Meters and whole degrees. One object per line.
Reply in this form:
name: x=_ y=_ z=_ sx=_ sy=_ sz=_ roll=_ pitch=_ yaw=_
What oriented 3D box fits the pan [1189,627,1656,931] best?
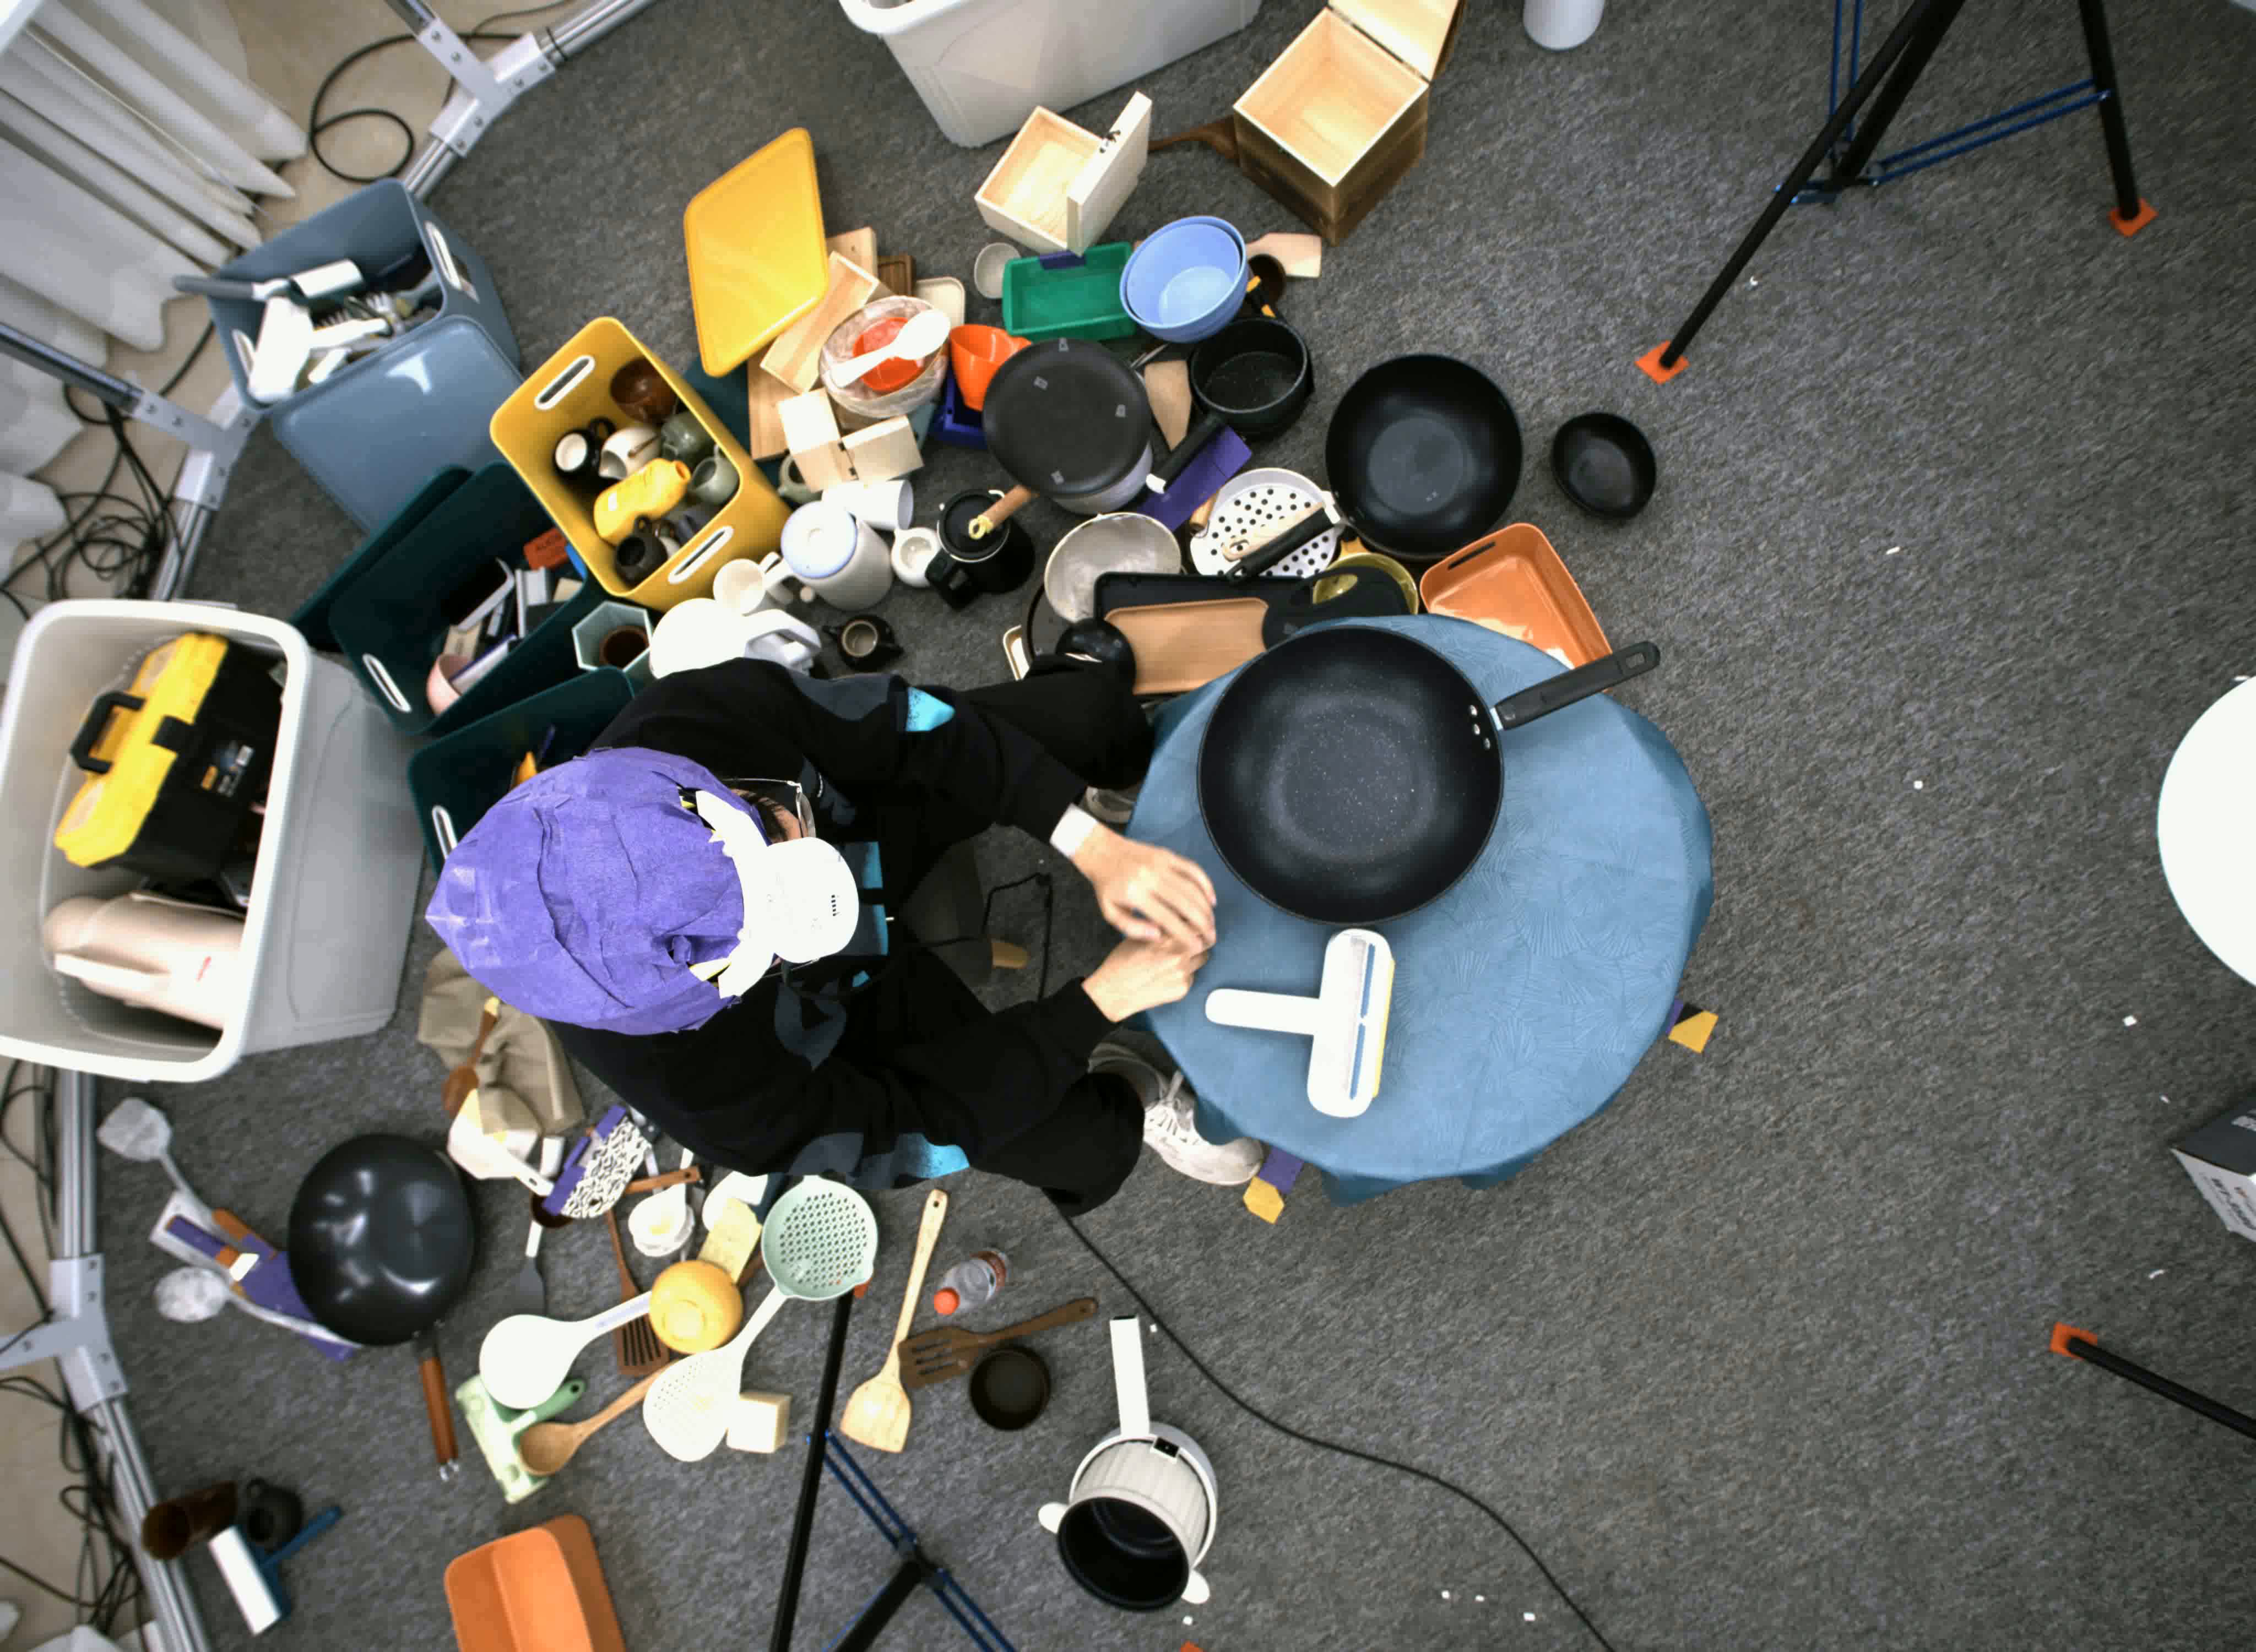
pan: x=0.297 y=-0.078 z=1.404 sx=0.480 sy=0.111 sz=0.309 roll=-21 pitch=85 yaw=9

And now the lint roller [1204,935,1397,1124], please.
lint roller: x=0.170 y=0.196 z=1.433 sx=0.193 sy=0.074 sz=0.191 roll=11 pitch=84 yaw=12
